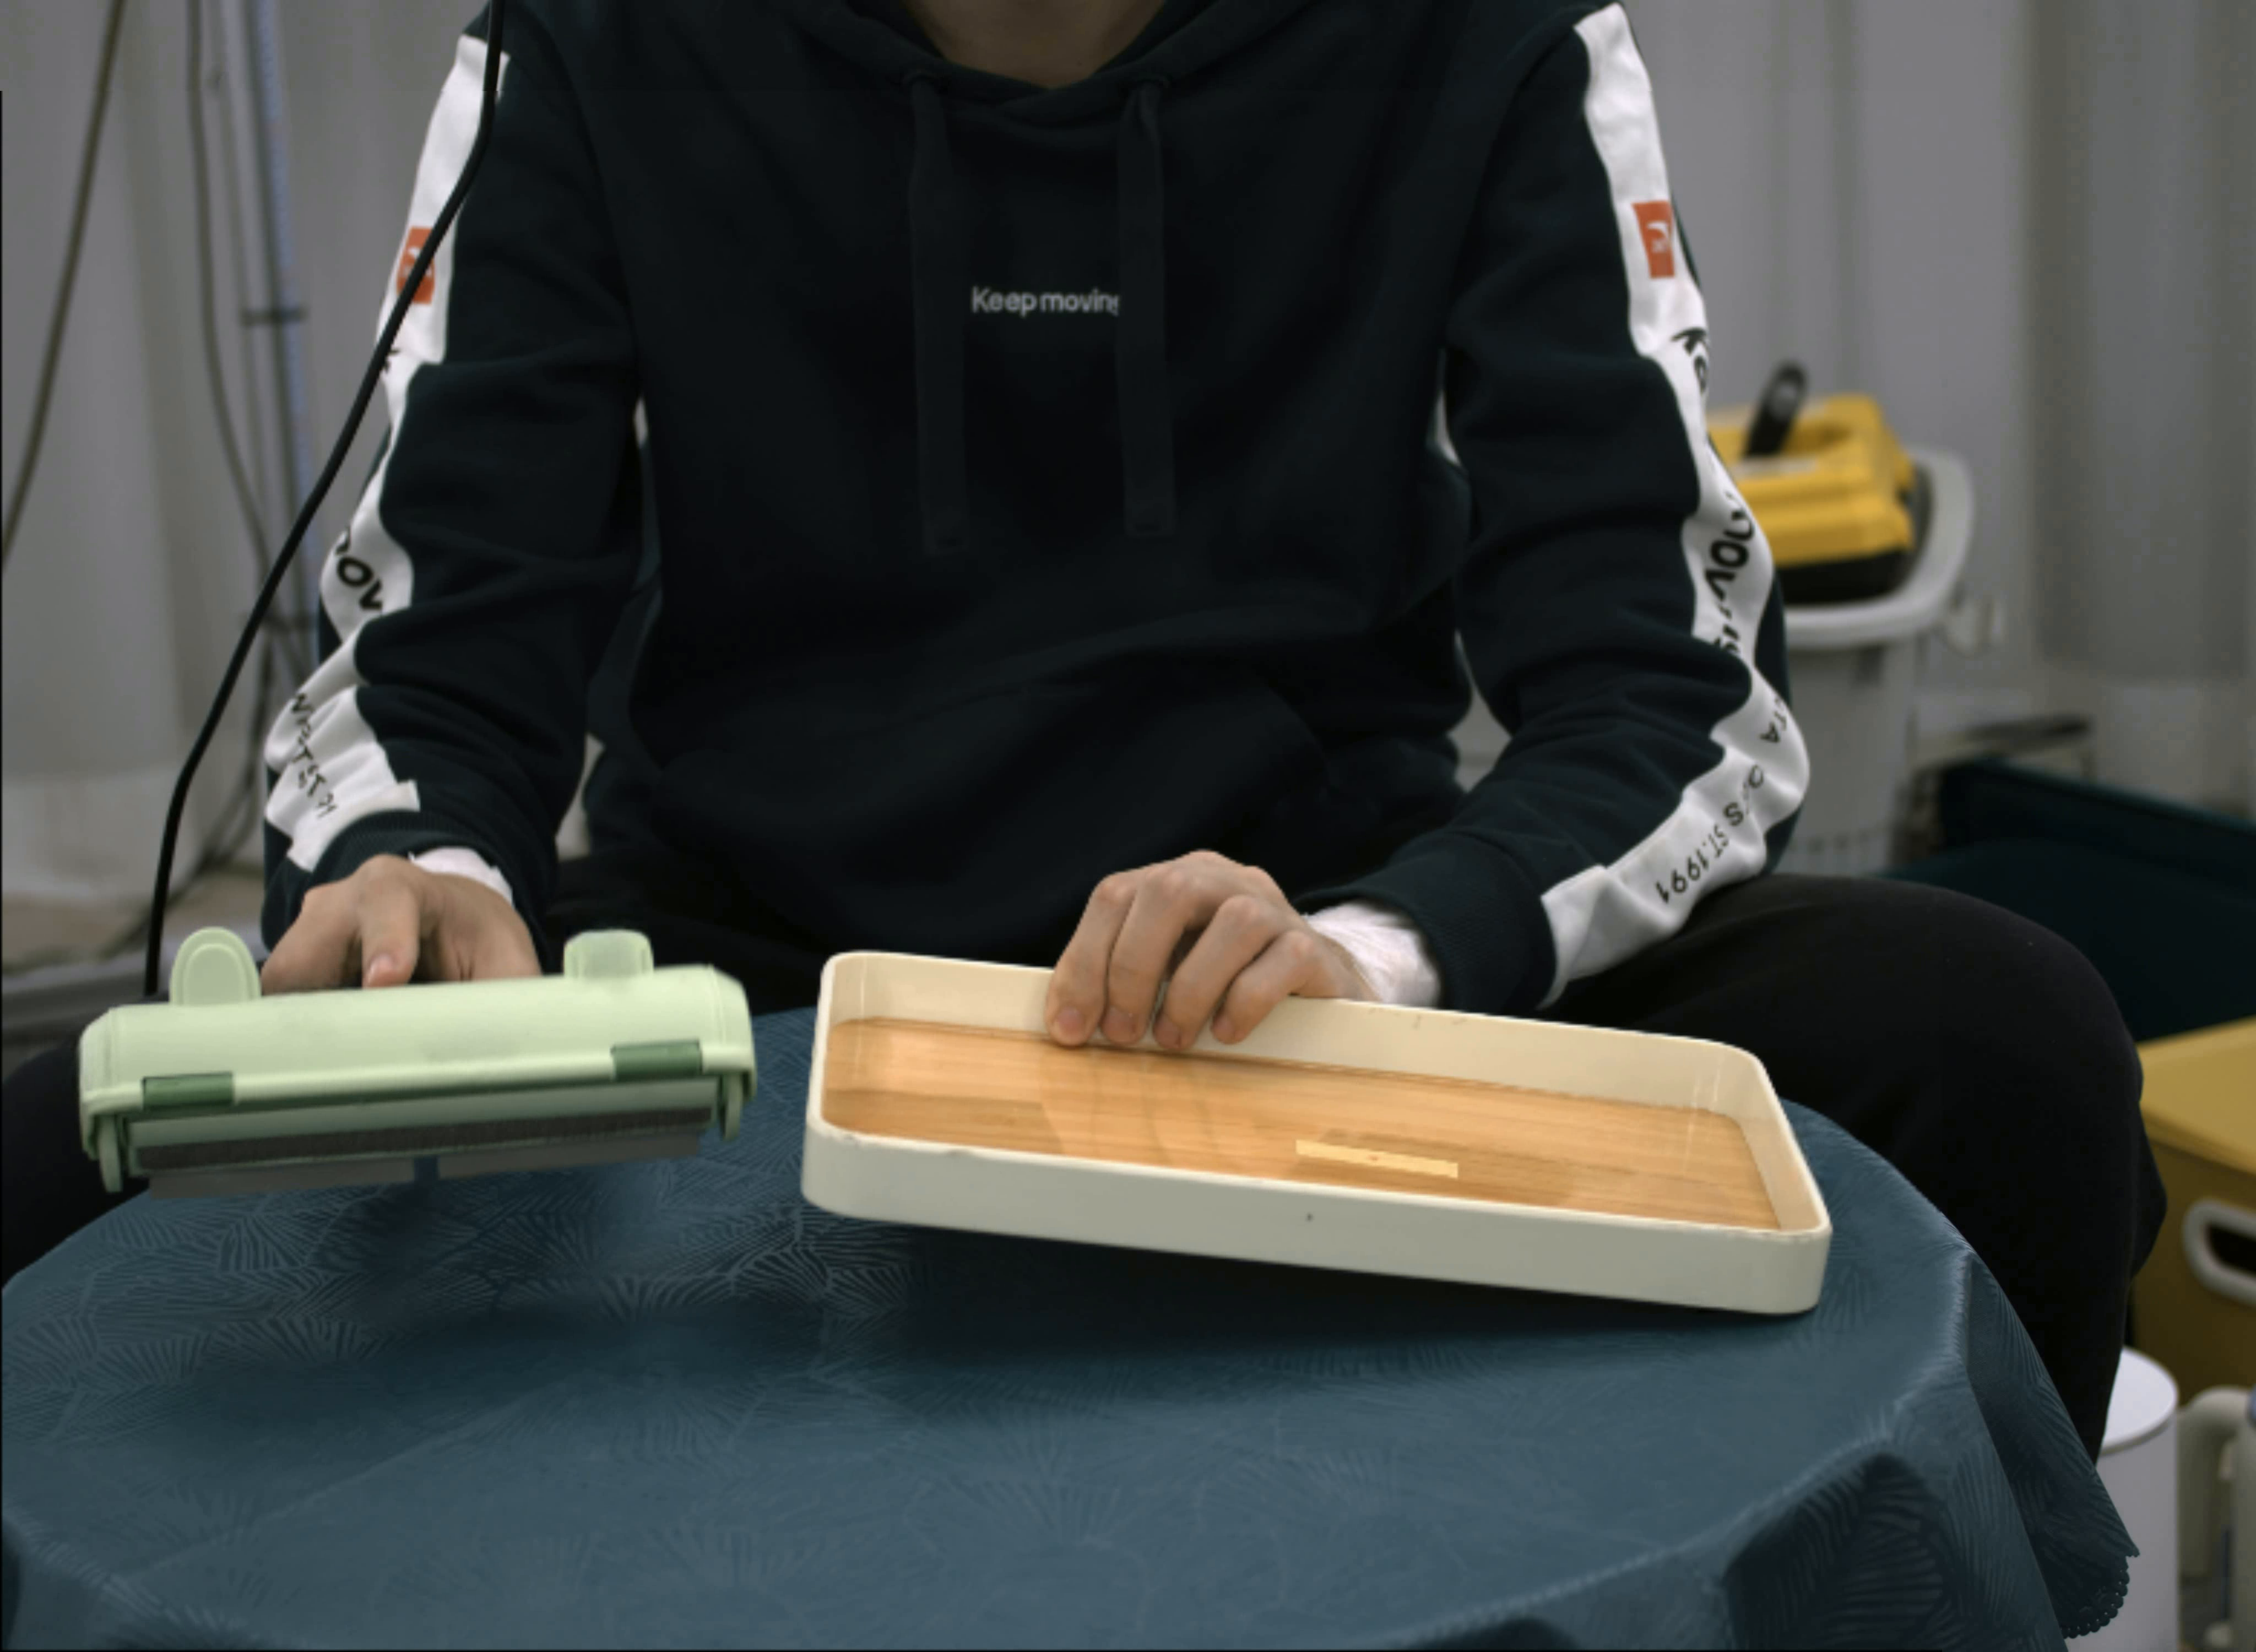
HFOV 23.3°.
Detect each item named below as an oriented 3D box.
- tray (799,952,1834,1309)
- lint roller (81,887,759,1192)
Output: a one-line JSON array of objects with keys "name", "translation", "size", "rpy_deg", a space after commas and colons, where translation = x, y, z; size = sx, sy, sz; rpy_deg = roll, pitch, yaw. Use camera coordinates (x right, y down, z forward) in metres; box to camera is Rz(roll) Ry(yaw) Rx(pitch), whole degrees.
[{"name": "tray", "translation": [0.053, 0.090, 1.648], "size": [0.299, 0.027, 0.193], "rpy_deg": [7, 14, -2]}, {"name": "lint roller", "translation": [-0.219, 0.051, 1.665], "size": [0.198, 0.082, 0.185], "rpy_deg": [-5, 15, -10]}]
